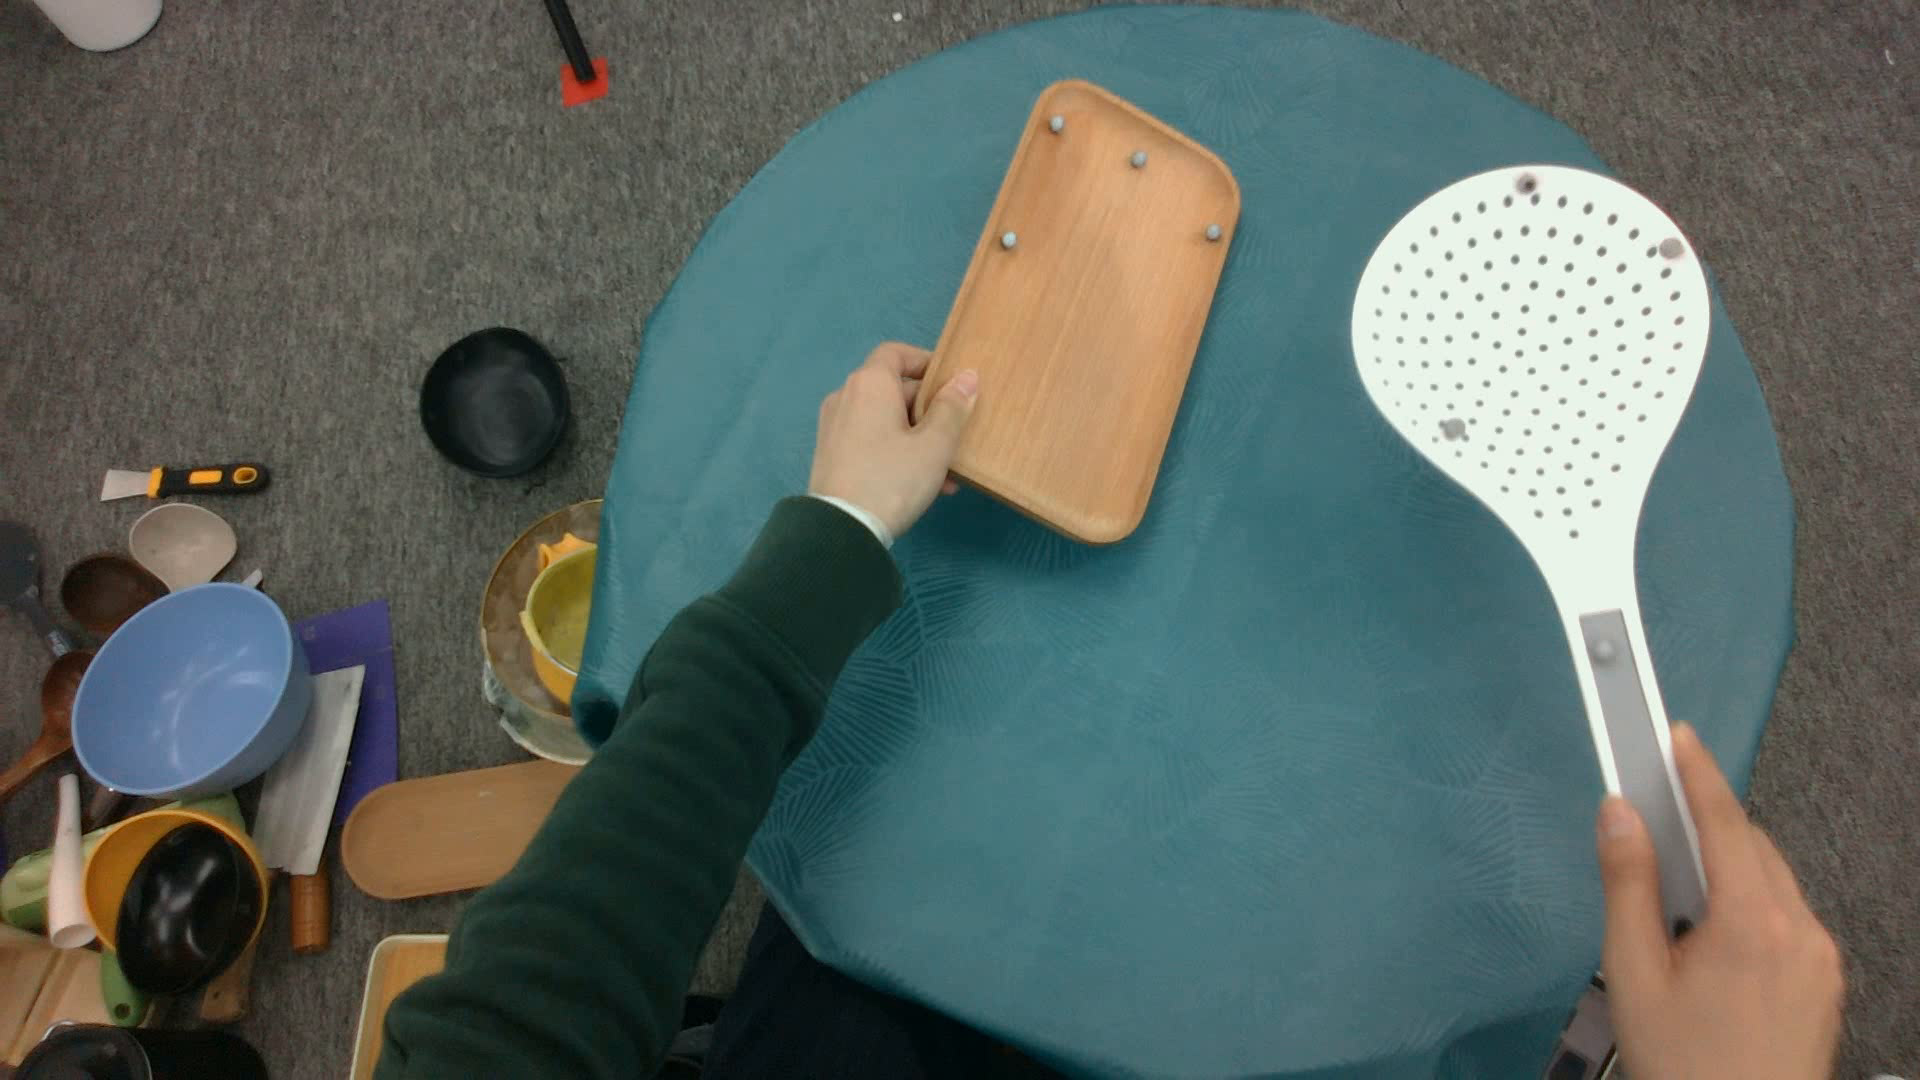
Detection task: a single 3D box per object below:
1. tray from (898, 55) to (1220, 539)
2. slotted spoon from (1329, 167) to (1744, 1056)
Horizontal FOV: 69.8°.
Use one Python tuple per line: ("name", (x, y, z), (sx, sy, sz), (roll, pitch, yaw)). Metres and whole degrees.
("tray", (0.056, -0.126, 0.694), (0.130, 0.023, 0.251), (28, 65, -16))
("slotted spoon", (0.237, 0.013, 0.533), (0.136, 0.045, 0.351), (-14, 65, 19))
